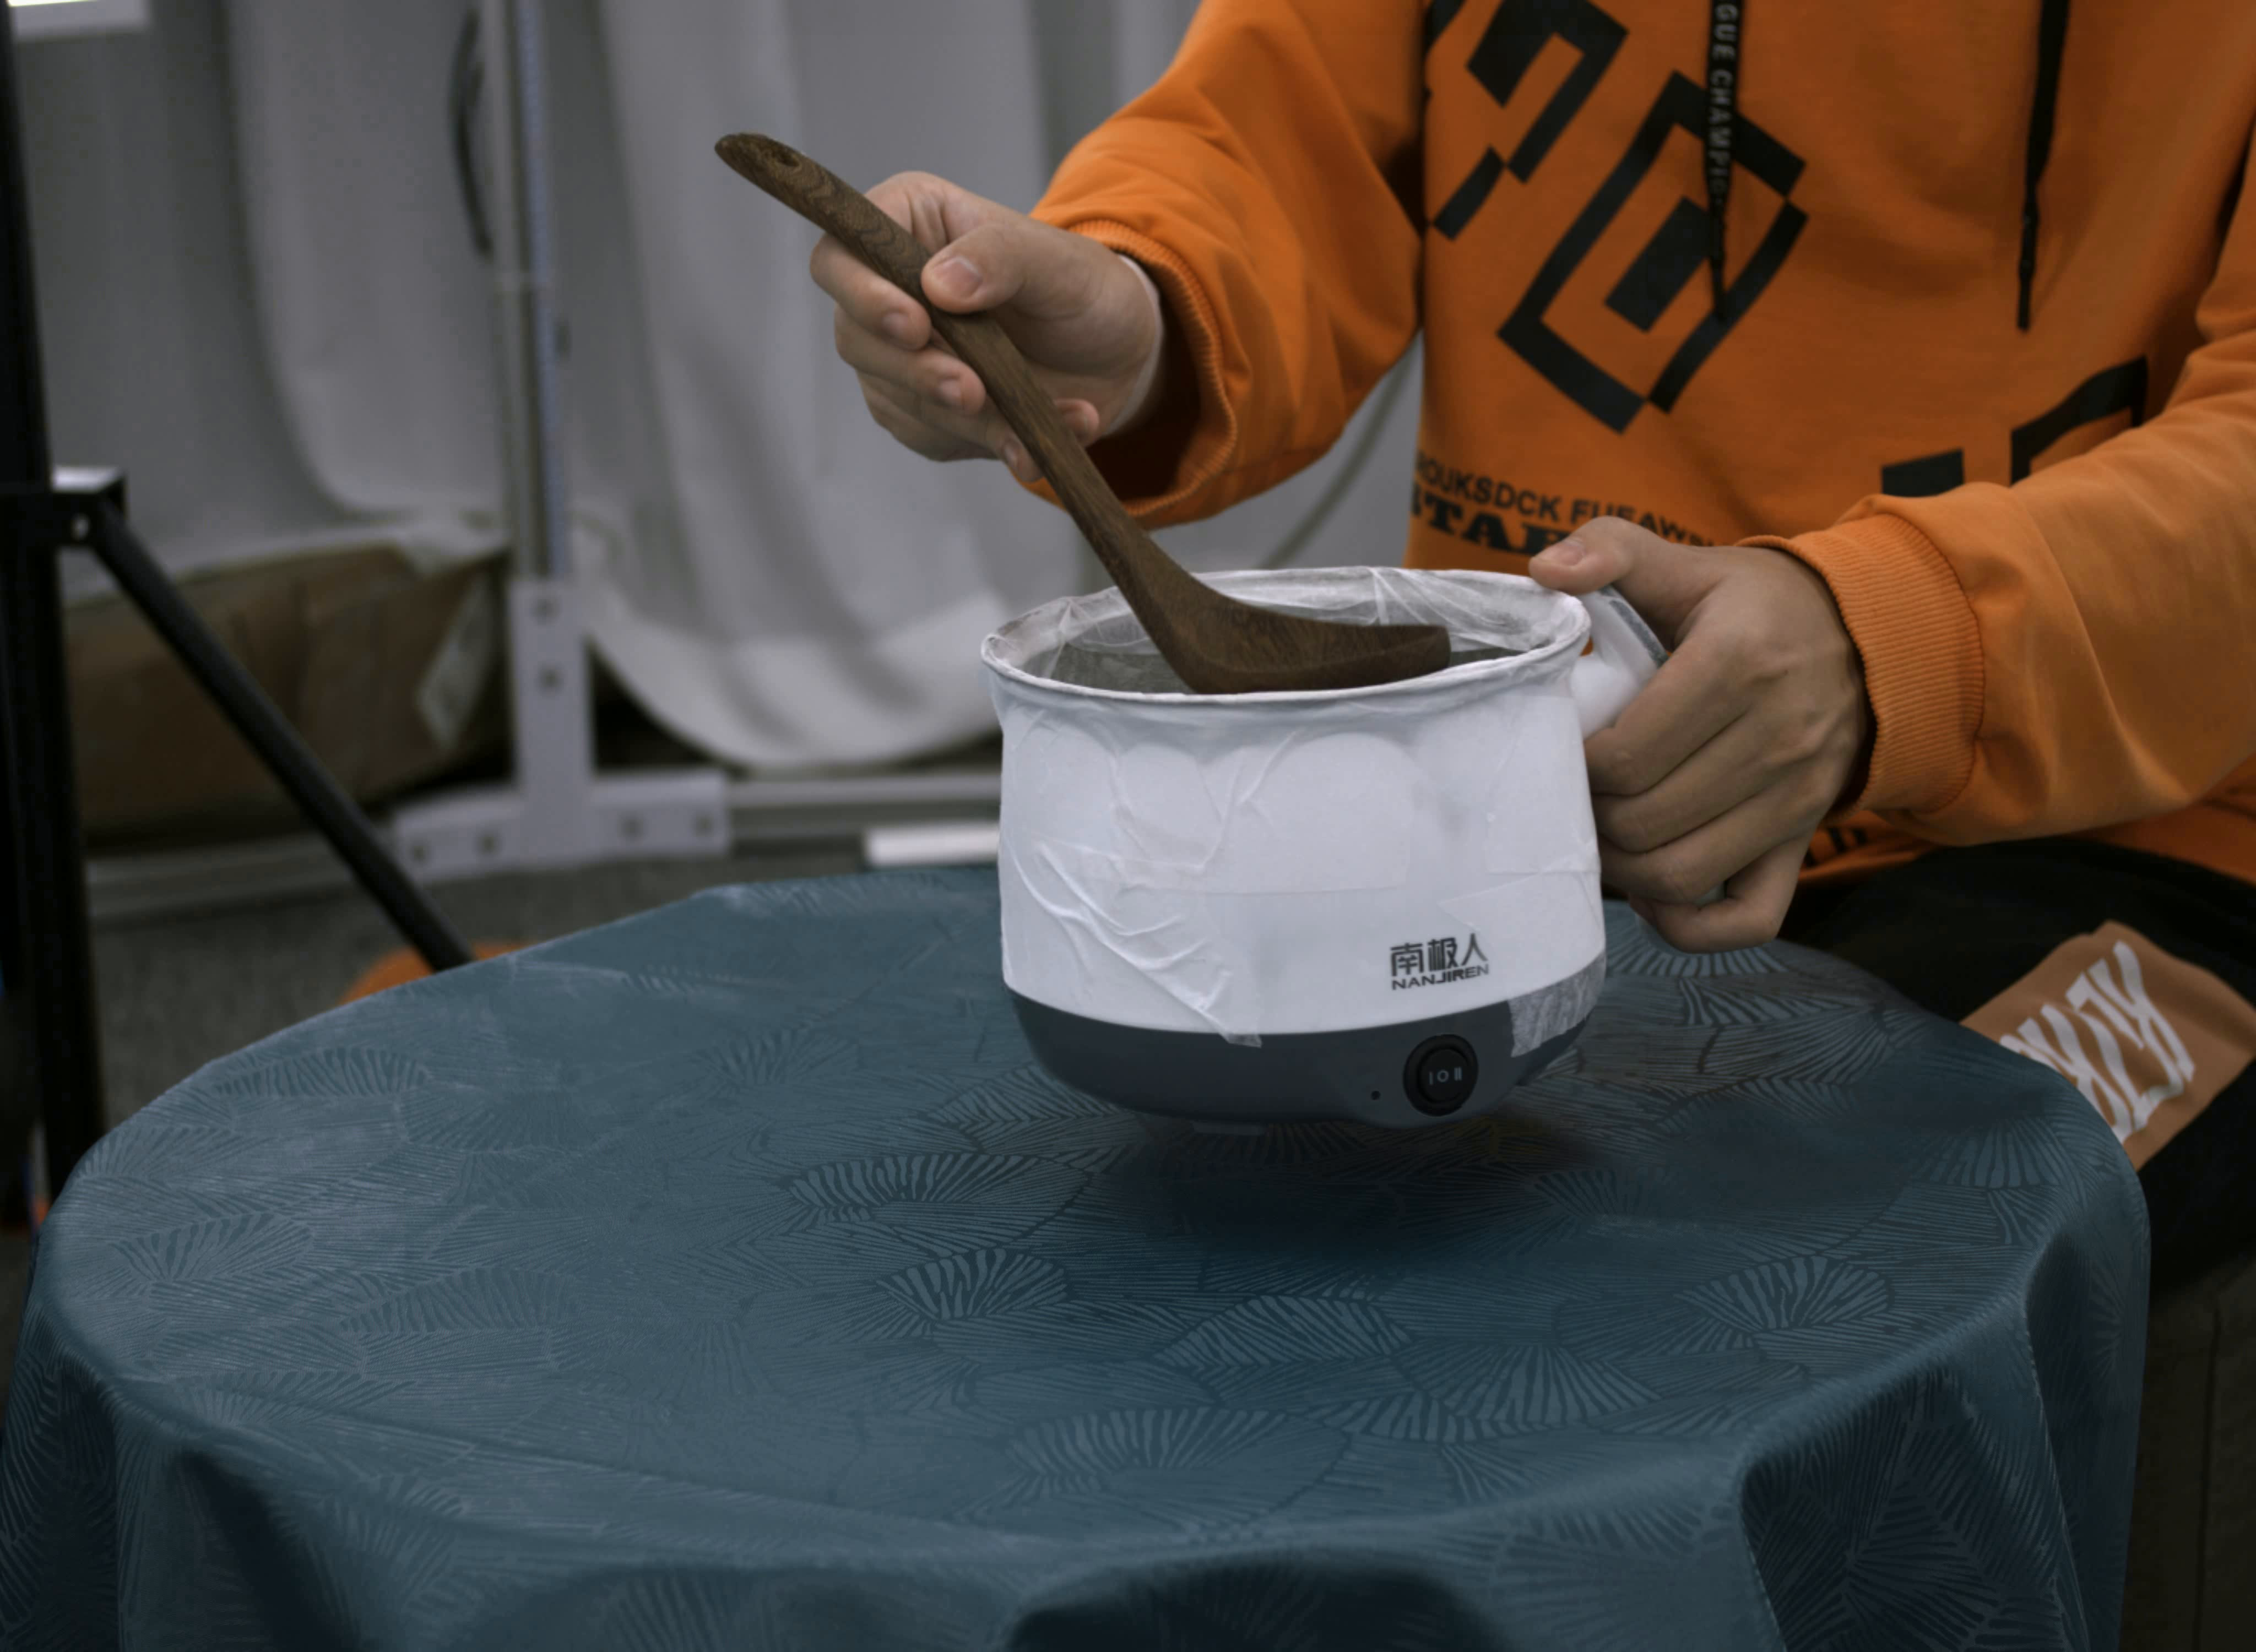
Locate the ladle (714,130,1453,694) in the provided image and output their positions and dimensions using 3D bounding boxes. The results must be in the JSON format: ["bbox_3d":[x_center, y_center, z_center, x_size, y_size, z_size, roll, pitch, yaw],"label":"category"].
[{"bbox_3d":[-0.013,-0.127,1.560,0.277,0.072,0.074,50,28,14],"label":"ladle"}]

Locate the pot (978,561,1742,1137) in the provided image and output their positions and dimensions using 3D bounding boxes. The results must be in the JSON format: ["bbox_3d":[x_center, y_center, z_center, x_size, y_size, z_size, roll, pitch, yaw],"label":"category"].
[{"bbox_3d":[0.073,0.000,1.557,0.229,0.136,0.182,-10,15,-23],"label":"pot"}]
